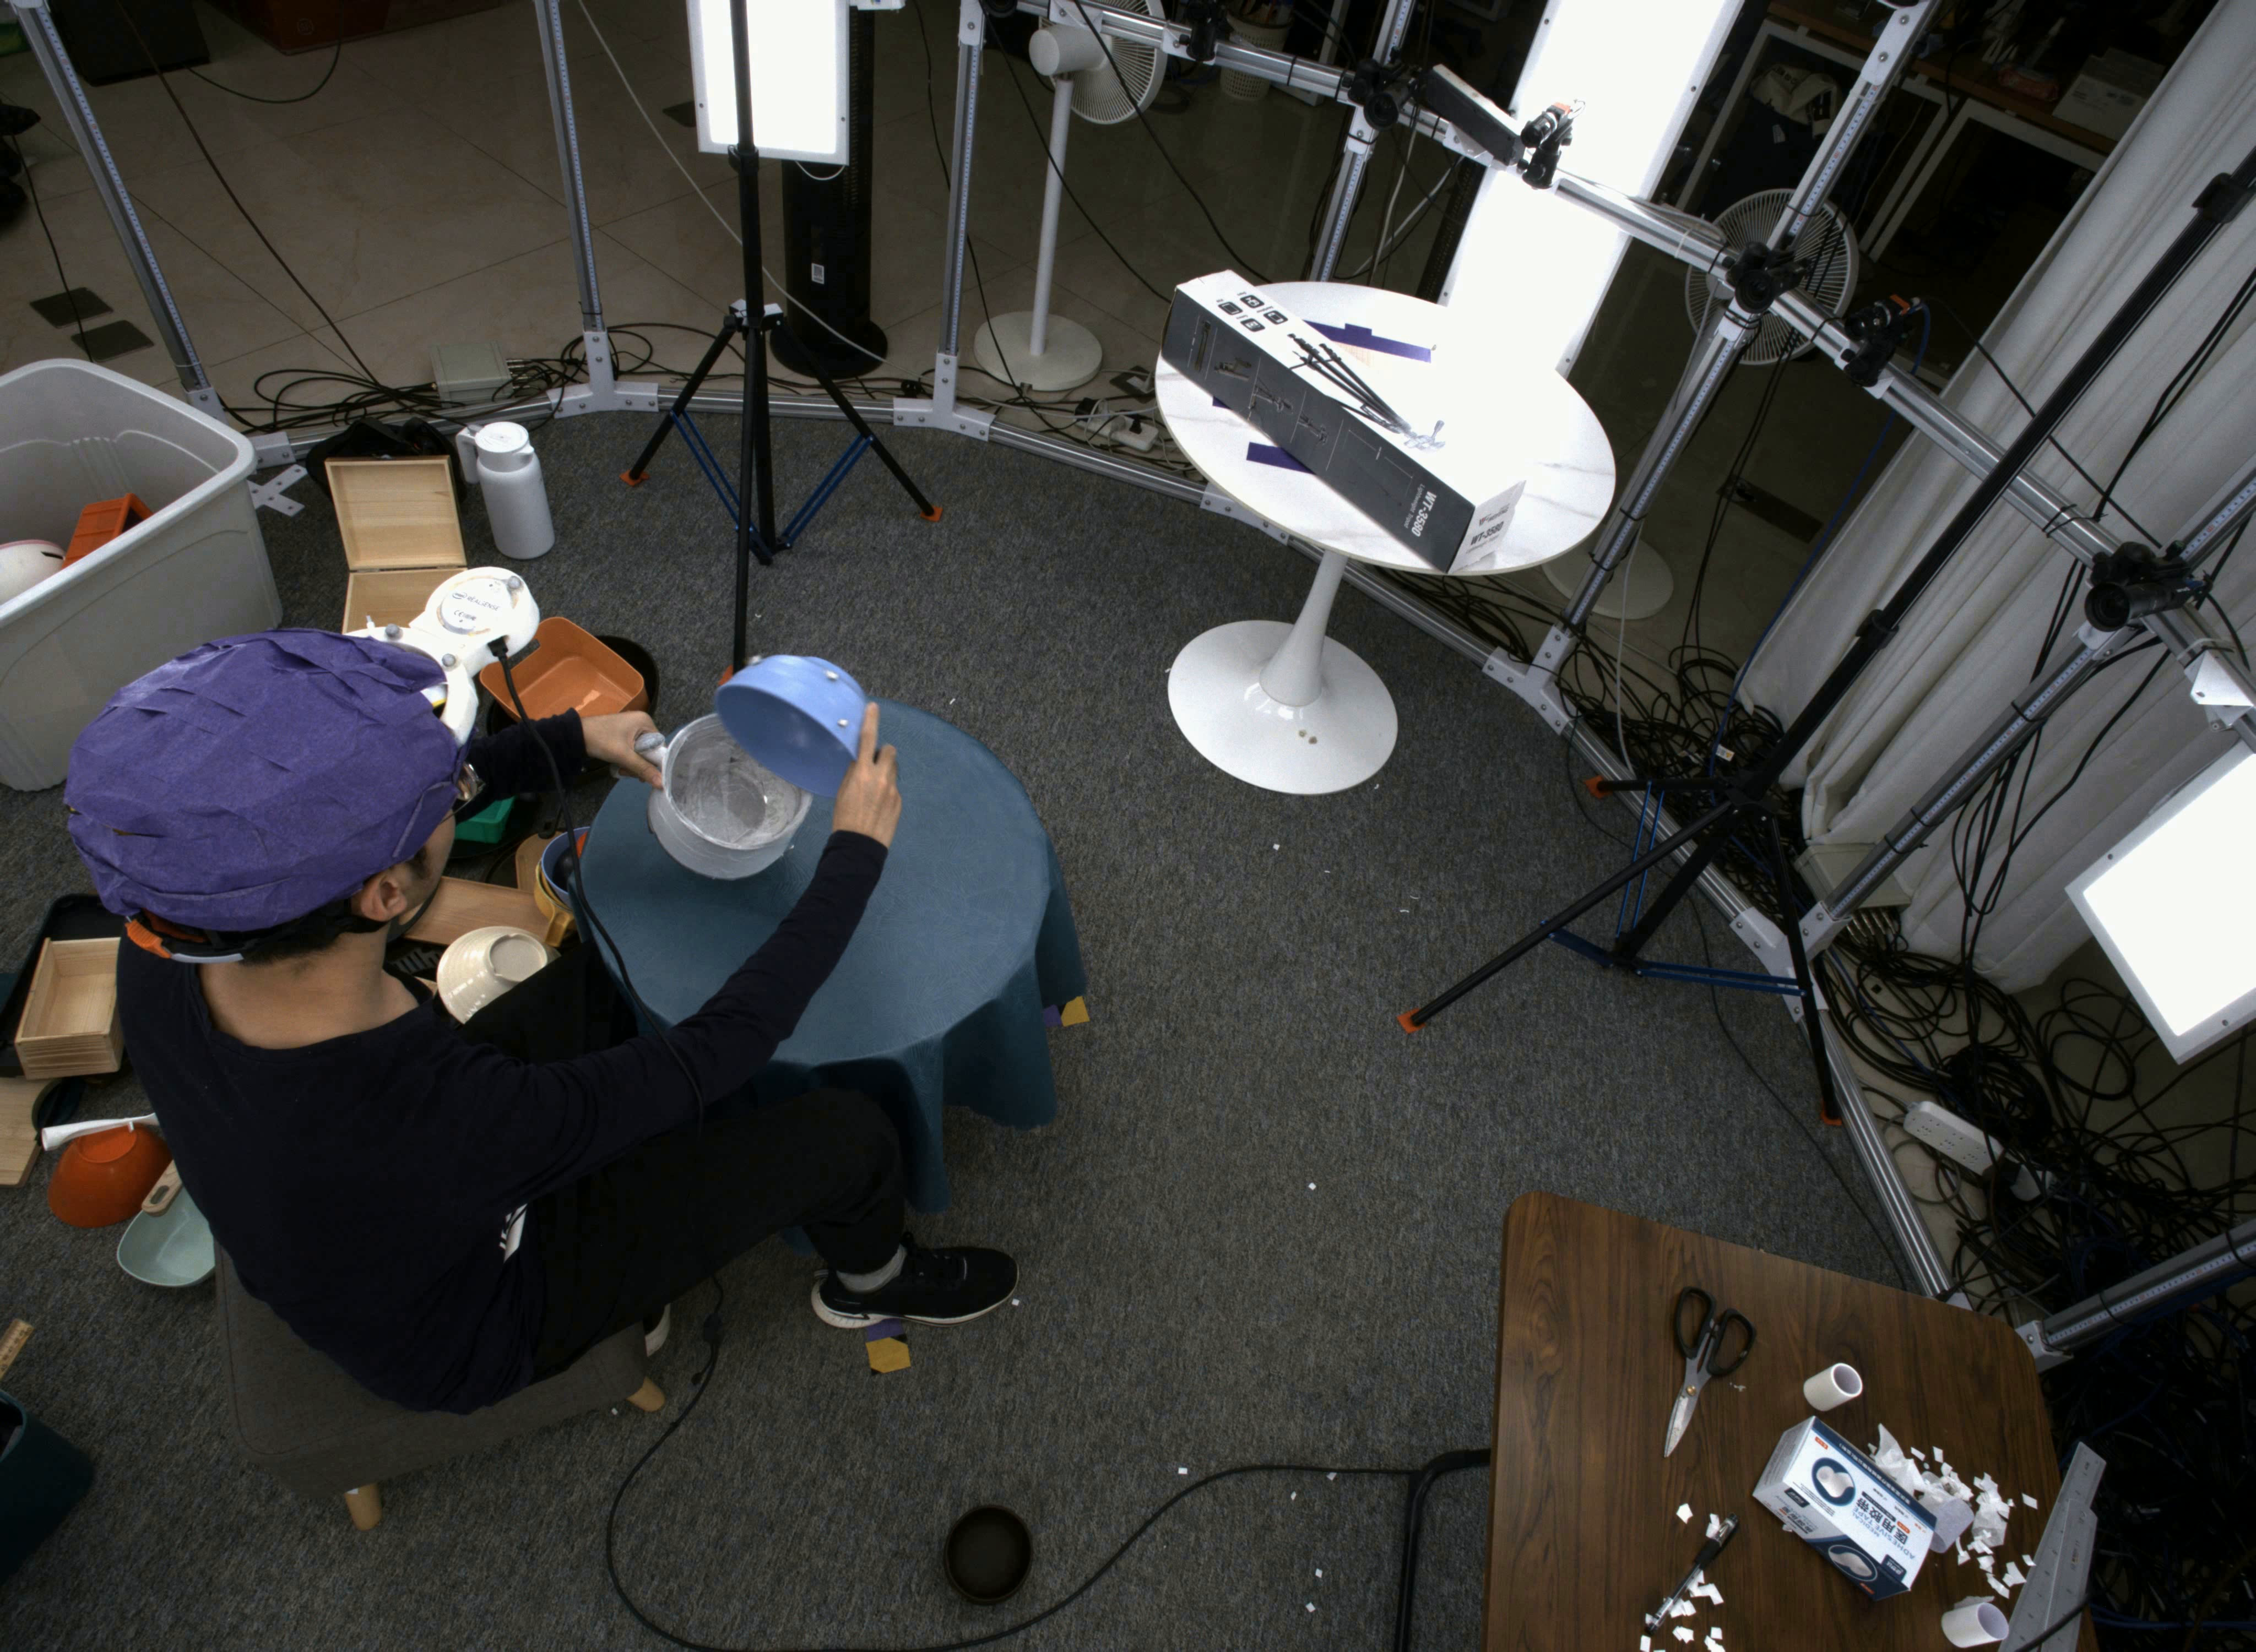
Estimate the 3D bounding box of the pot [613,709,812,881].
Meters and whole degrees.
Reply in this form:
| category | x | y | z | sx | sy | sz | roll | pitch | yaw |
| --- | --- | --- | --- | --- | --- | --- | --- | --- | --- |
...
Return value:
| category | x | y | z | sx | sy | sz | roll | pitch | yaw |
| --- | --- | --- | --- | --- | --- | --- | --- | --- | --- |
| pot | -0.509 | -0.045 | 1.559 | 0.237 | 0.136 | 0.177 | 26 | 55 | -20 |

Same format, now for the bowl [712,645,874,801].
| category | x | y | z | sx | sy | sz | roll | pitch | yaw |
| --- | --- | --- | --- | --- | --- | --- | --- | --- | --- |
| bowl | -0.365 | -0.131 | 1.475 | 0.193 | 0.200 | 0.095 | 25 | 56 | 7 |
